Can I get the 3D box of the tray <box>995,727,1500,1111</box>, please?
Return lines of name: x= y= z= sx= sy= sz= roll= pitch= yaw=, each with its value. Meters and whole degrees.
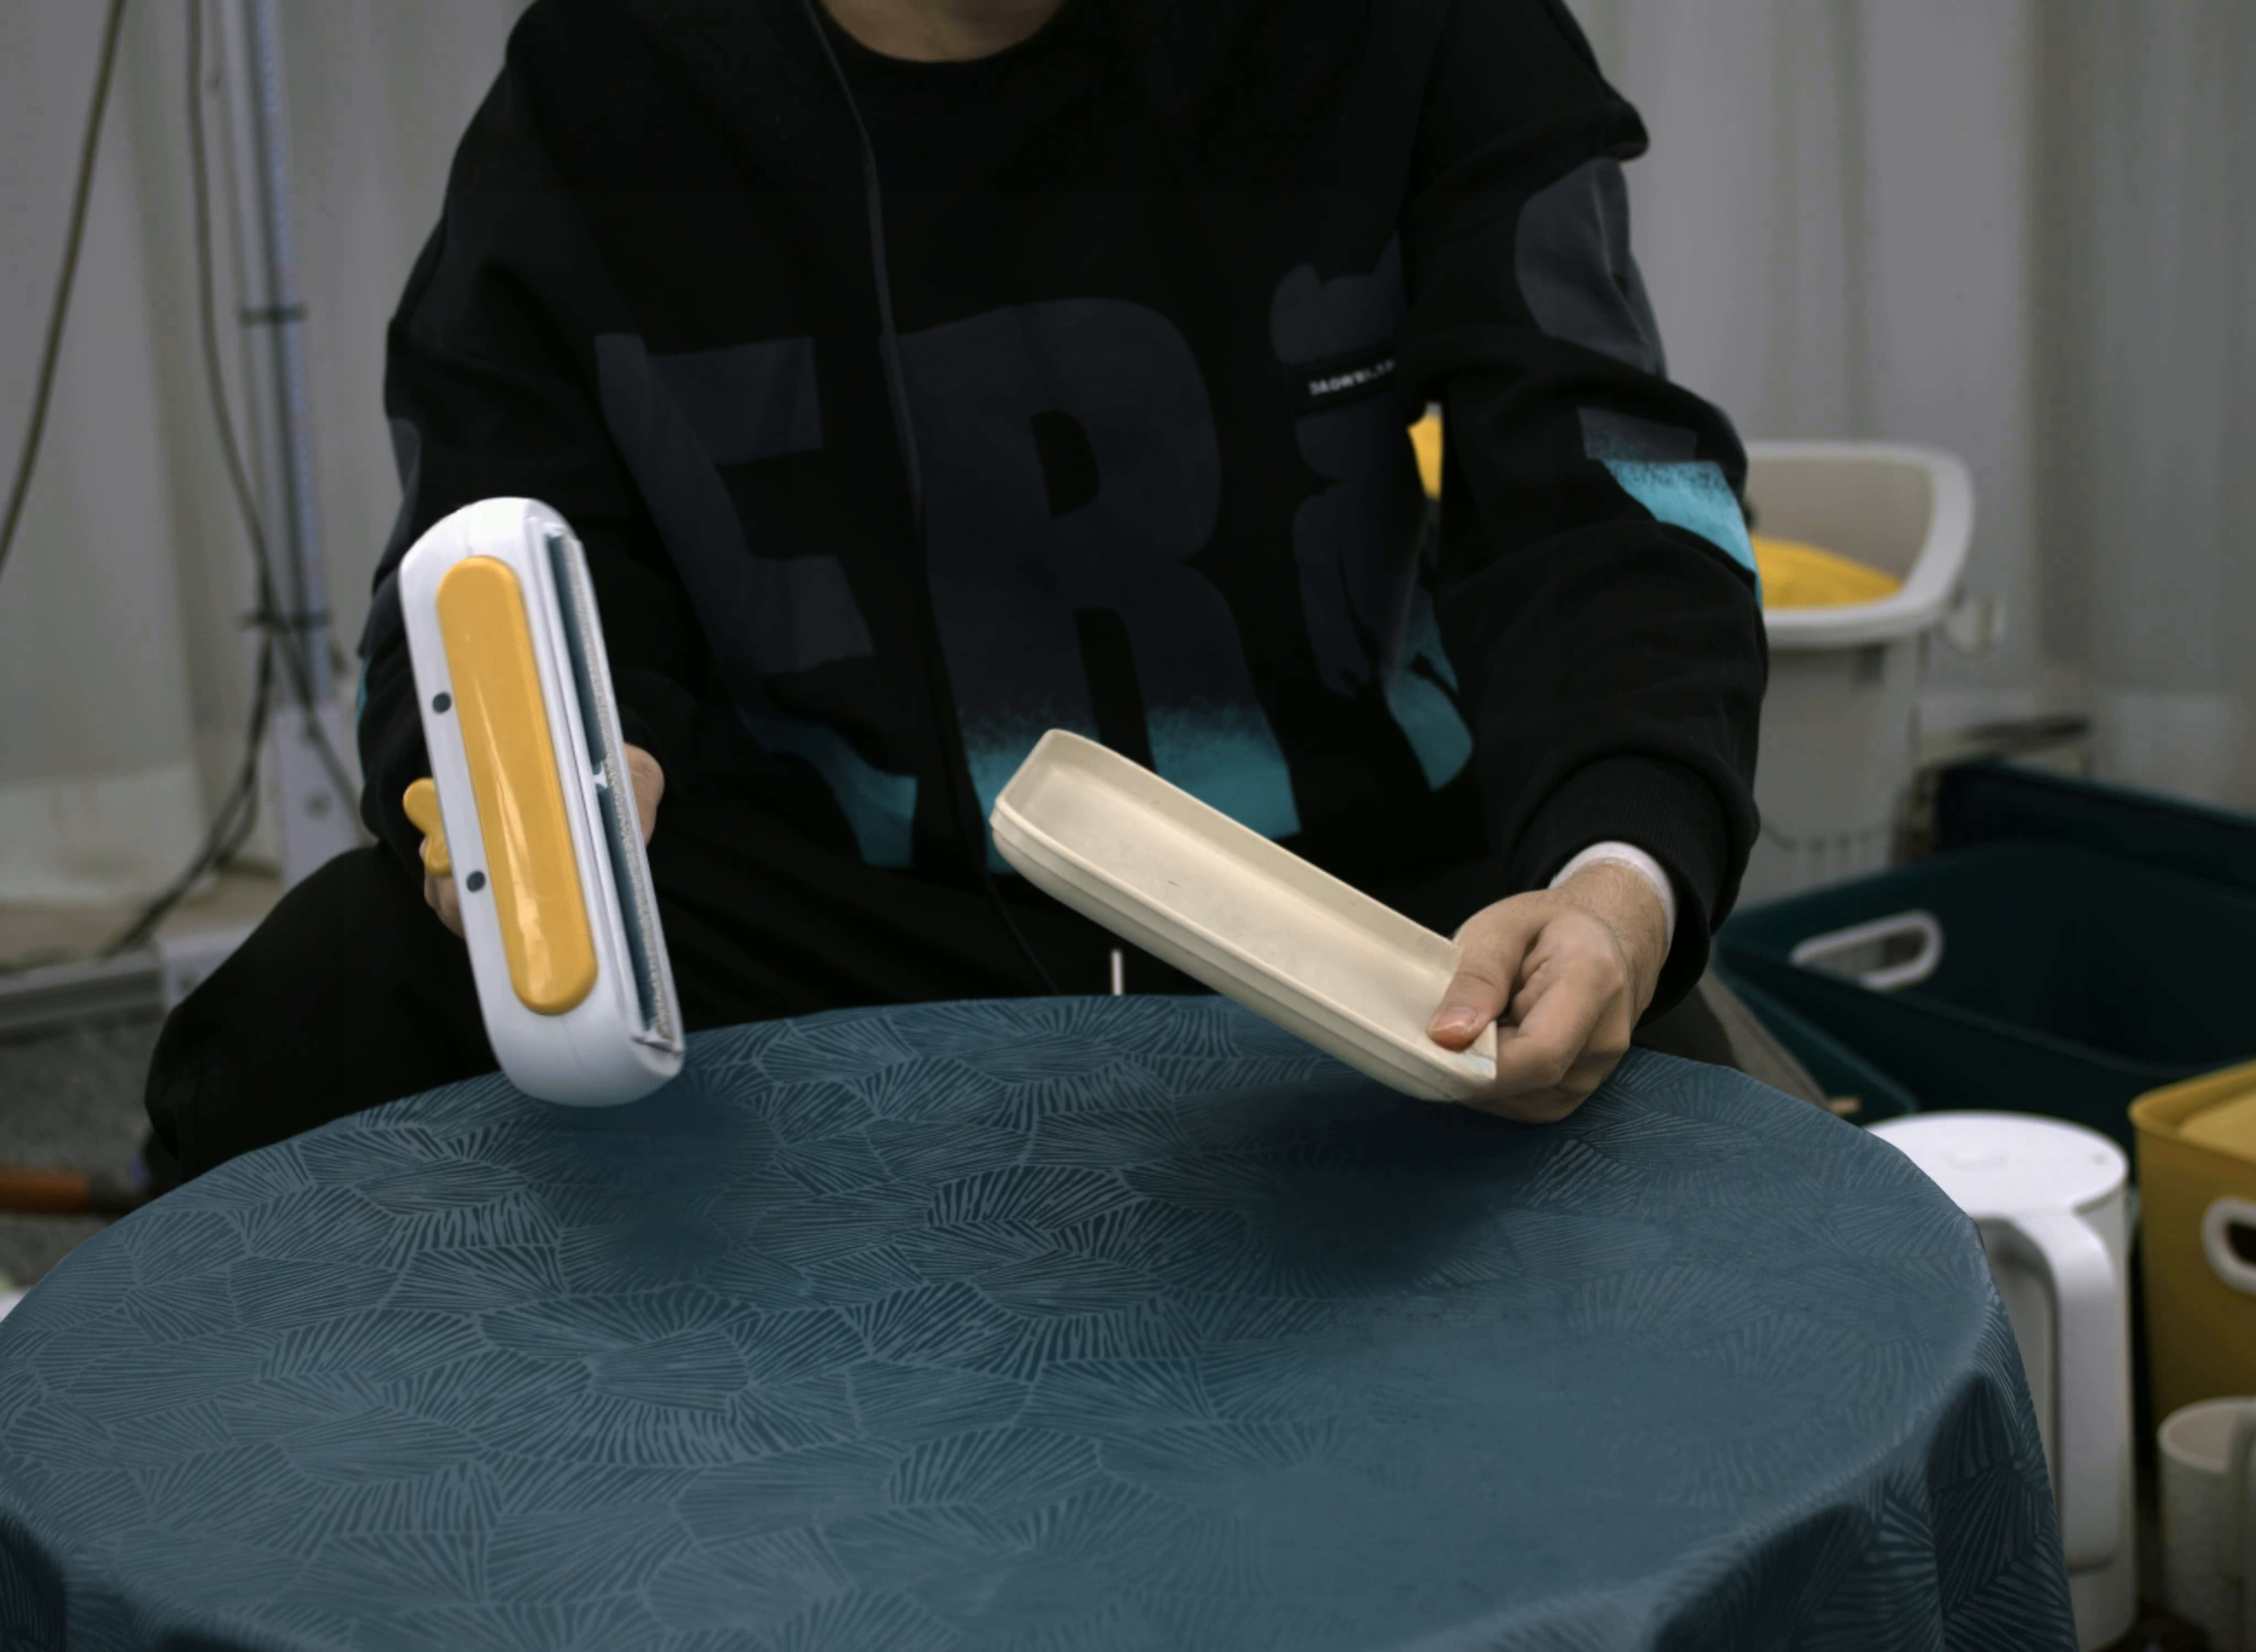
tray: x=0.038 y=0.028 z=1.697 sx=0.171 sy=0.017 sz=0.240 roll=30 pitch=8 yaw=0

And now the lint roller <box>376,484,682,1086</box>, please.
lint roller: x=-0.182 y=0.005 z=1.748 sx=0.074 sy=0.195 sz=0.191 roll=-20 pitch=-17 yaw=2
